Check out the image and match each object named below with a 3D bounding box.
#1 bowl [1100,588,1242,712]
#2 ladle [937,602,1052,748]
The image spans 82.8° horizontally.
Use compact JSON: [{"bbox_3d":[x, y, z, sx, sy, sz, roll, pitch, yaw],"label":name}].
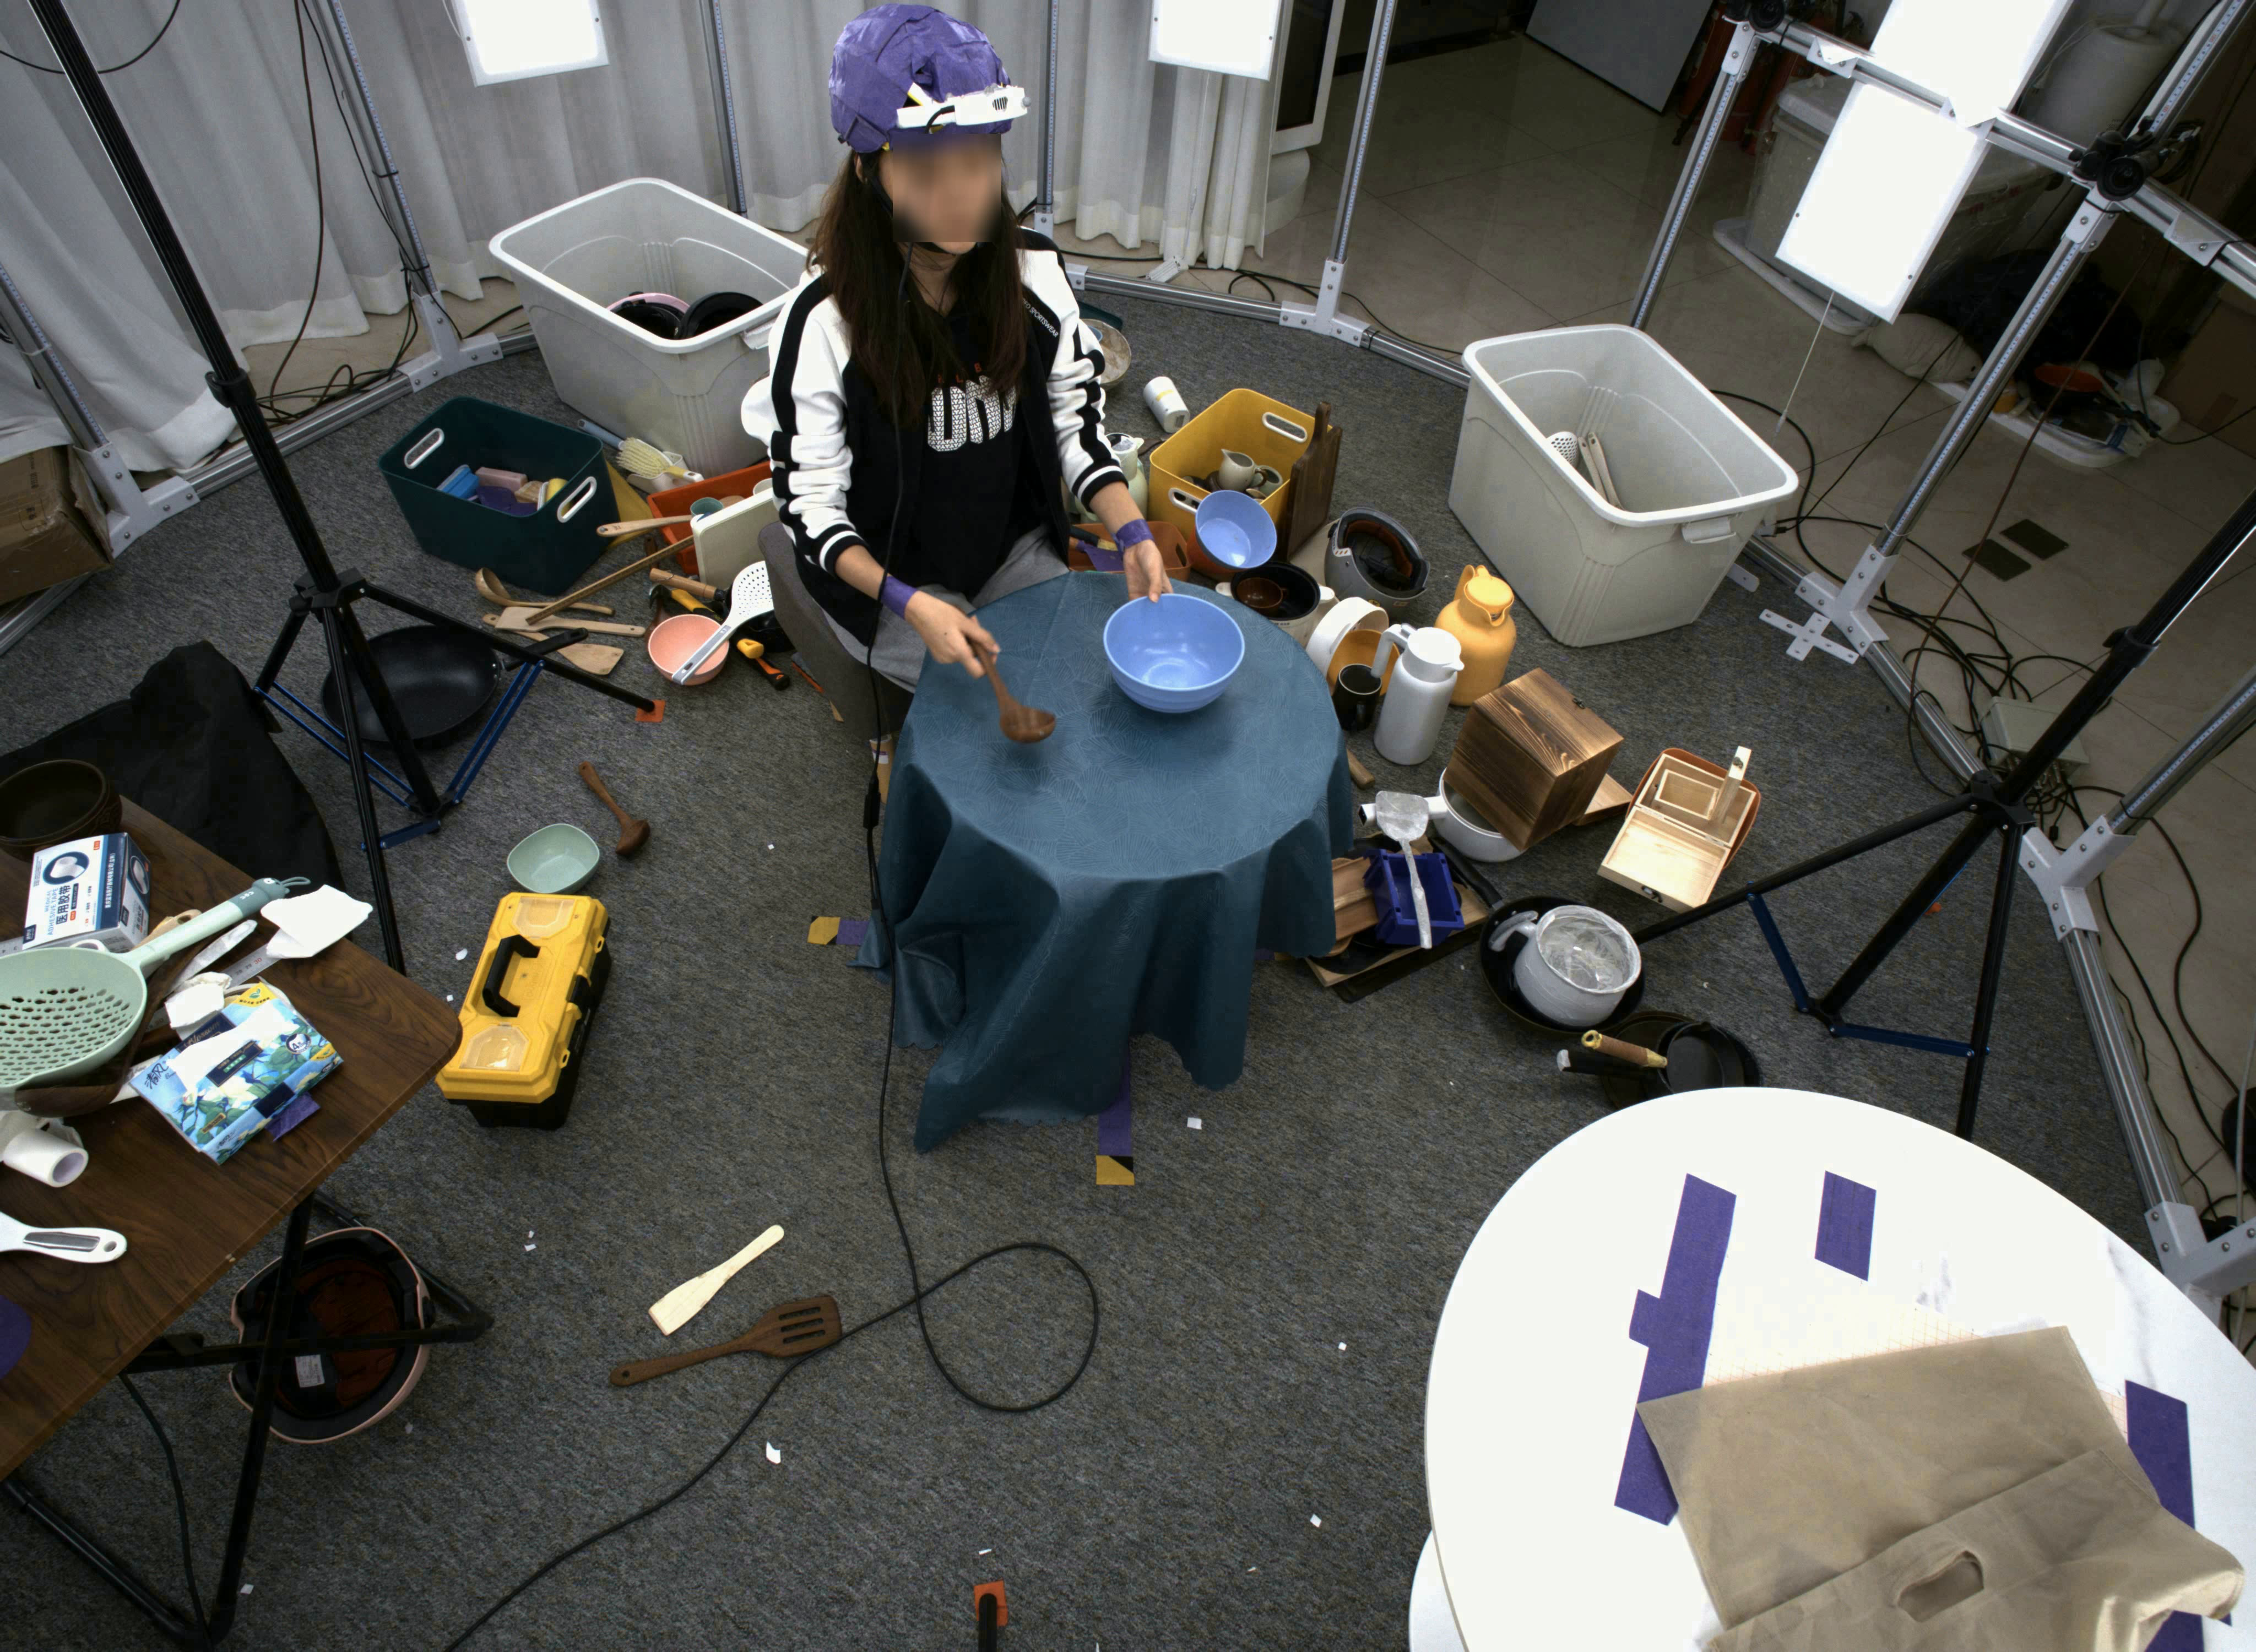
[{"bbox_3d":[0.059,-0.234,1.816,0.196,0.093,0.201,1,55,-1],"label":"bowl"},{"bbox_3d":[-0.185,-0.212,1.738,0.076,0.064,0.264,-15,68,-38],"label":"ladle"}]
